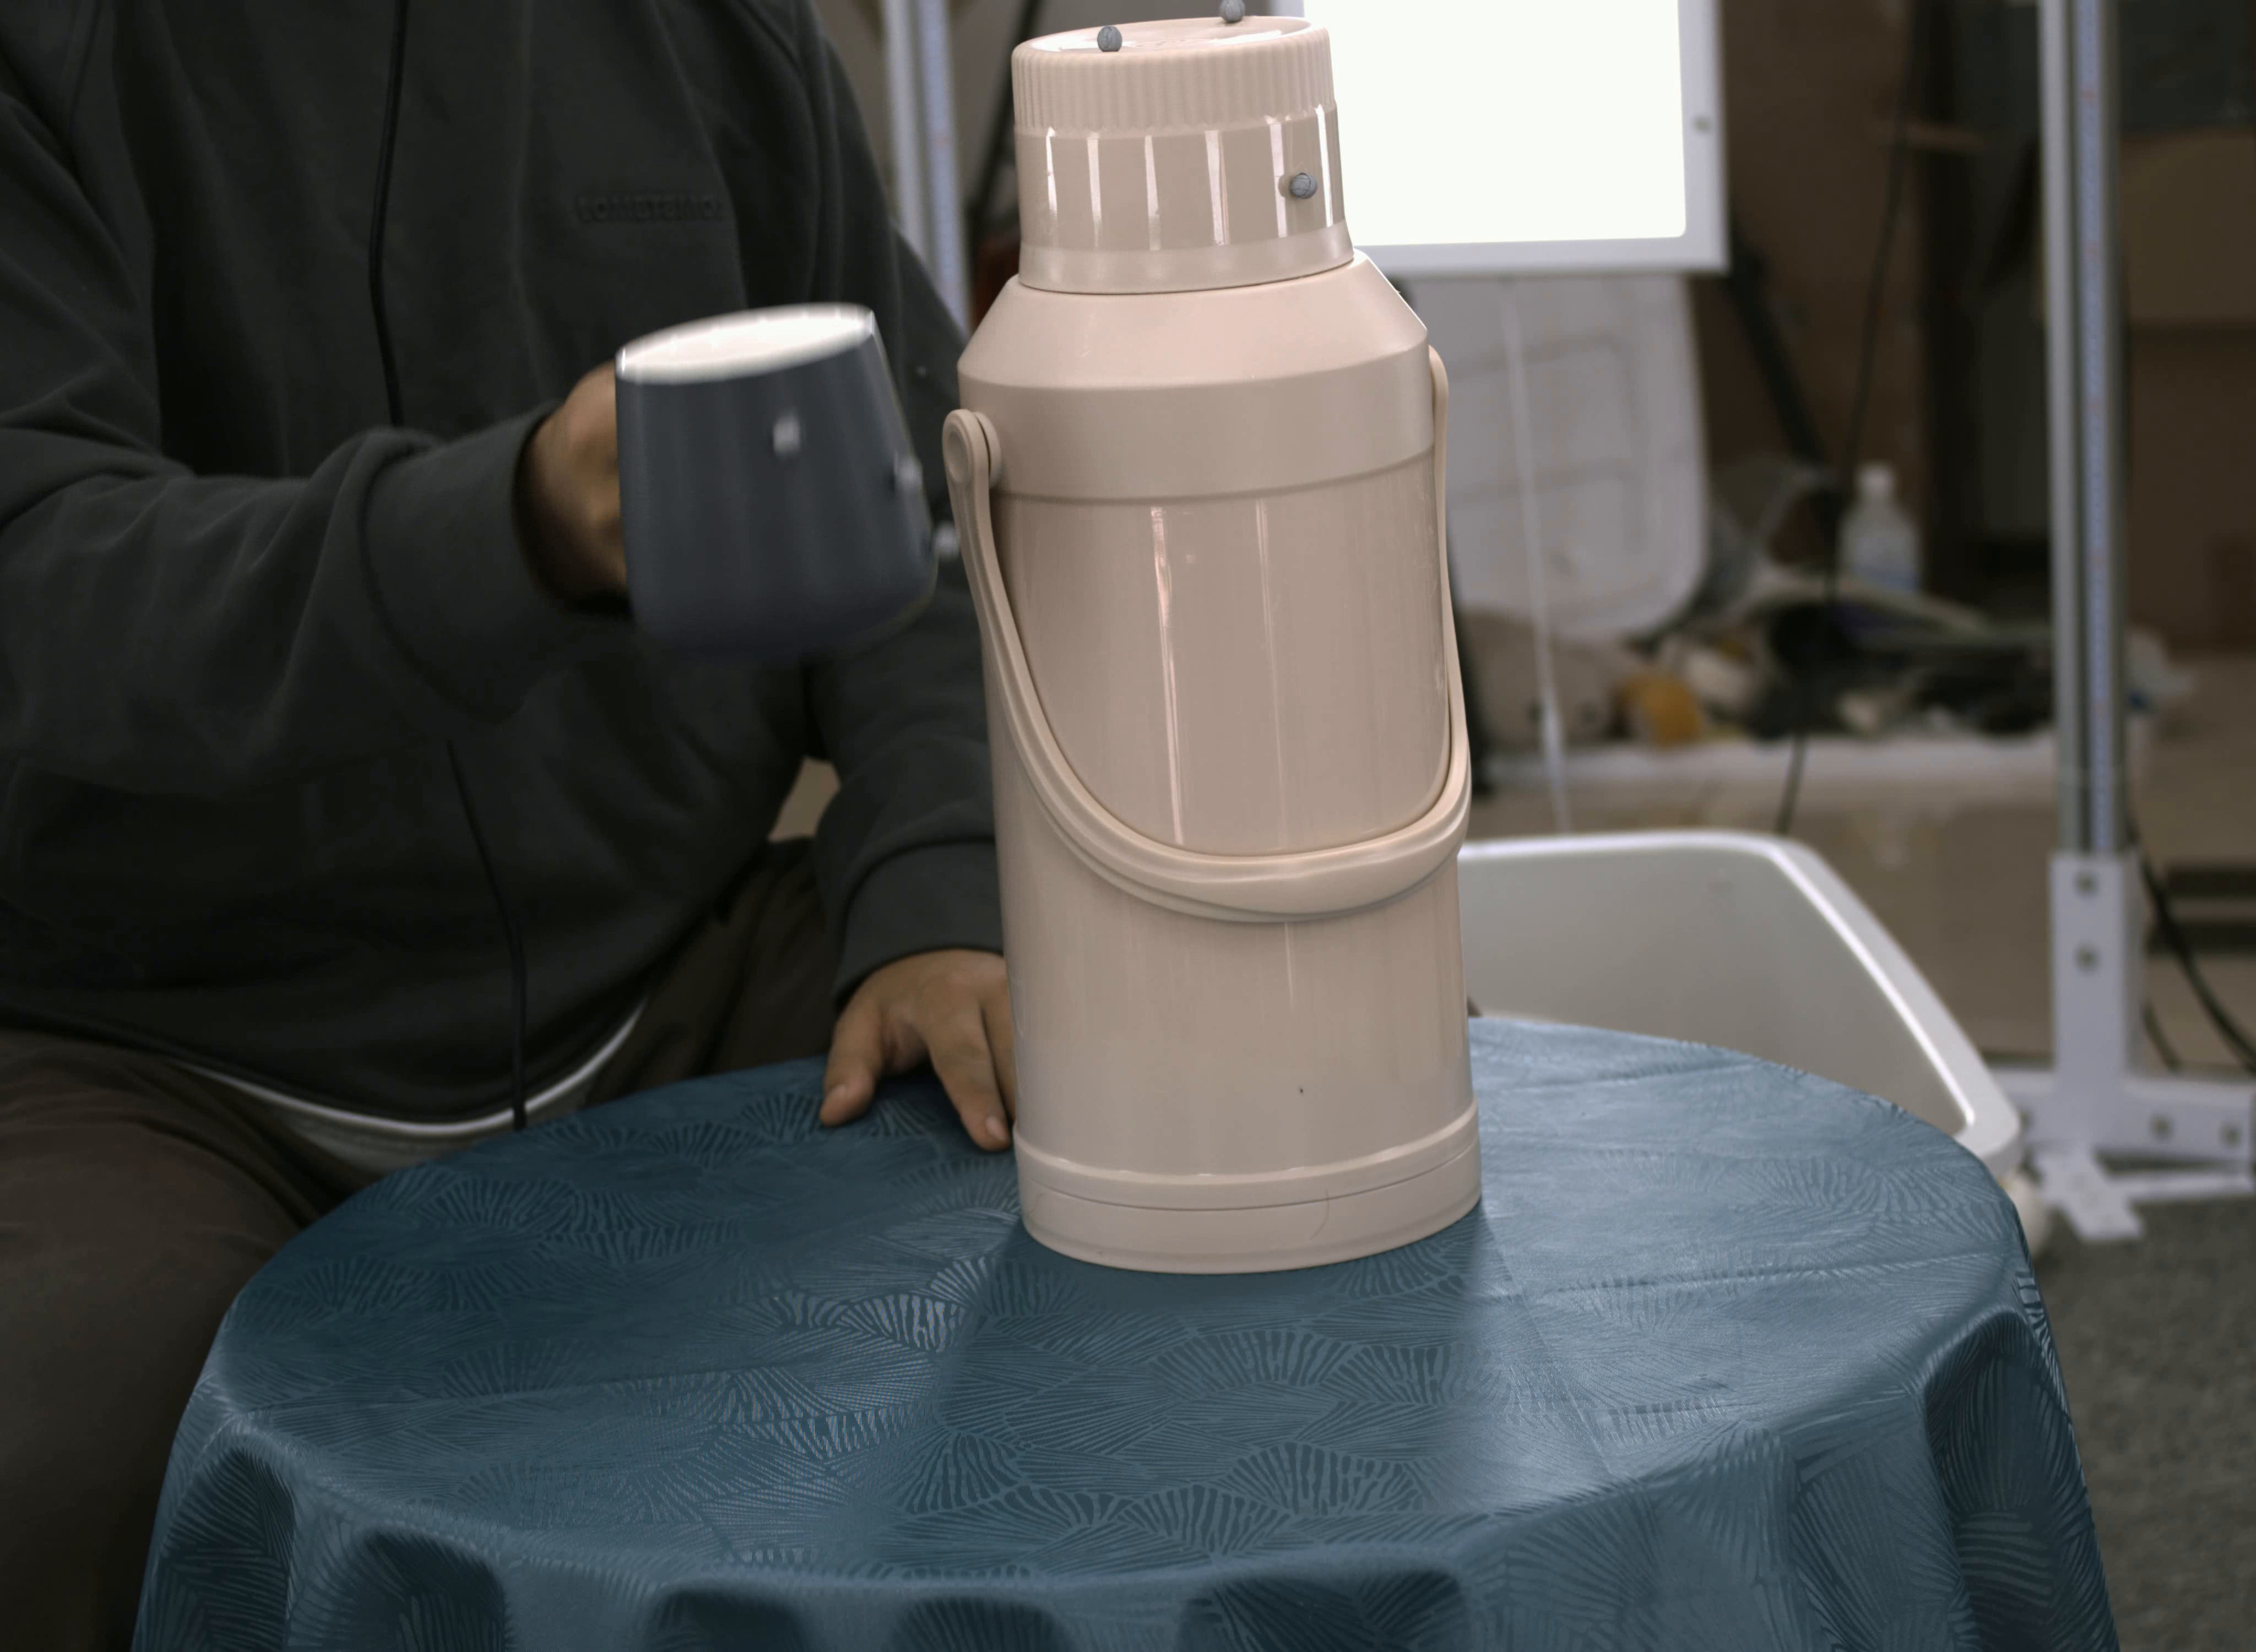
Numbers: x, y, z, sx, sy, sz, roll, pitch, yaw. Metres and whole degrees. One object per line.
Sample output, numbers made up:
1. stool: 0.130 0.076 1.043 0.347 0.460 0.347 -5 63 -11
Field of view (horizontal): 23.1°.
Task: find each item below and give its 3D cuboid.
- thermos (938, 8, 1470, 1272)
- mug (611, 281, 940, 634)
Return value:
1. thermos: 0.021 -0.067 1.844 0.172 0.408 0.210 -11 15 -23
2. mug: -0.111 -0.113 1.660 0.092 0.090 0.124 -13 15 -10
